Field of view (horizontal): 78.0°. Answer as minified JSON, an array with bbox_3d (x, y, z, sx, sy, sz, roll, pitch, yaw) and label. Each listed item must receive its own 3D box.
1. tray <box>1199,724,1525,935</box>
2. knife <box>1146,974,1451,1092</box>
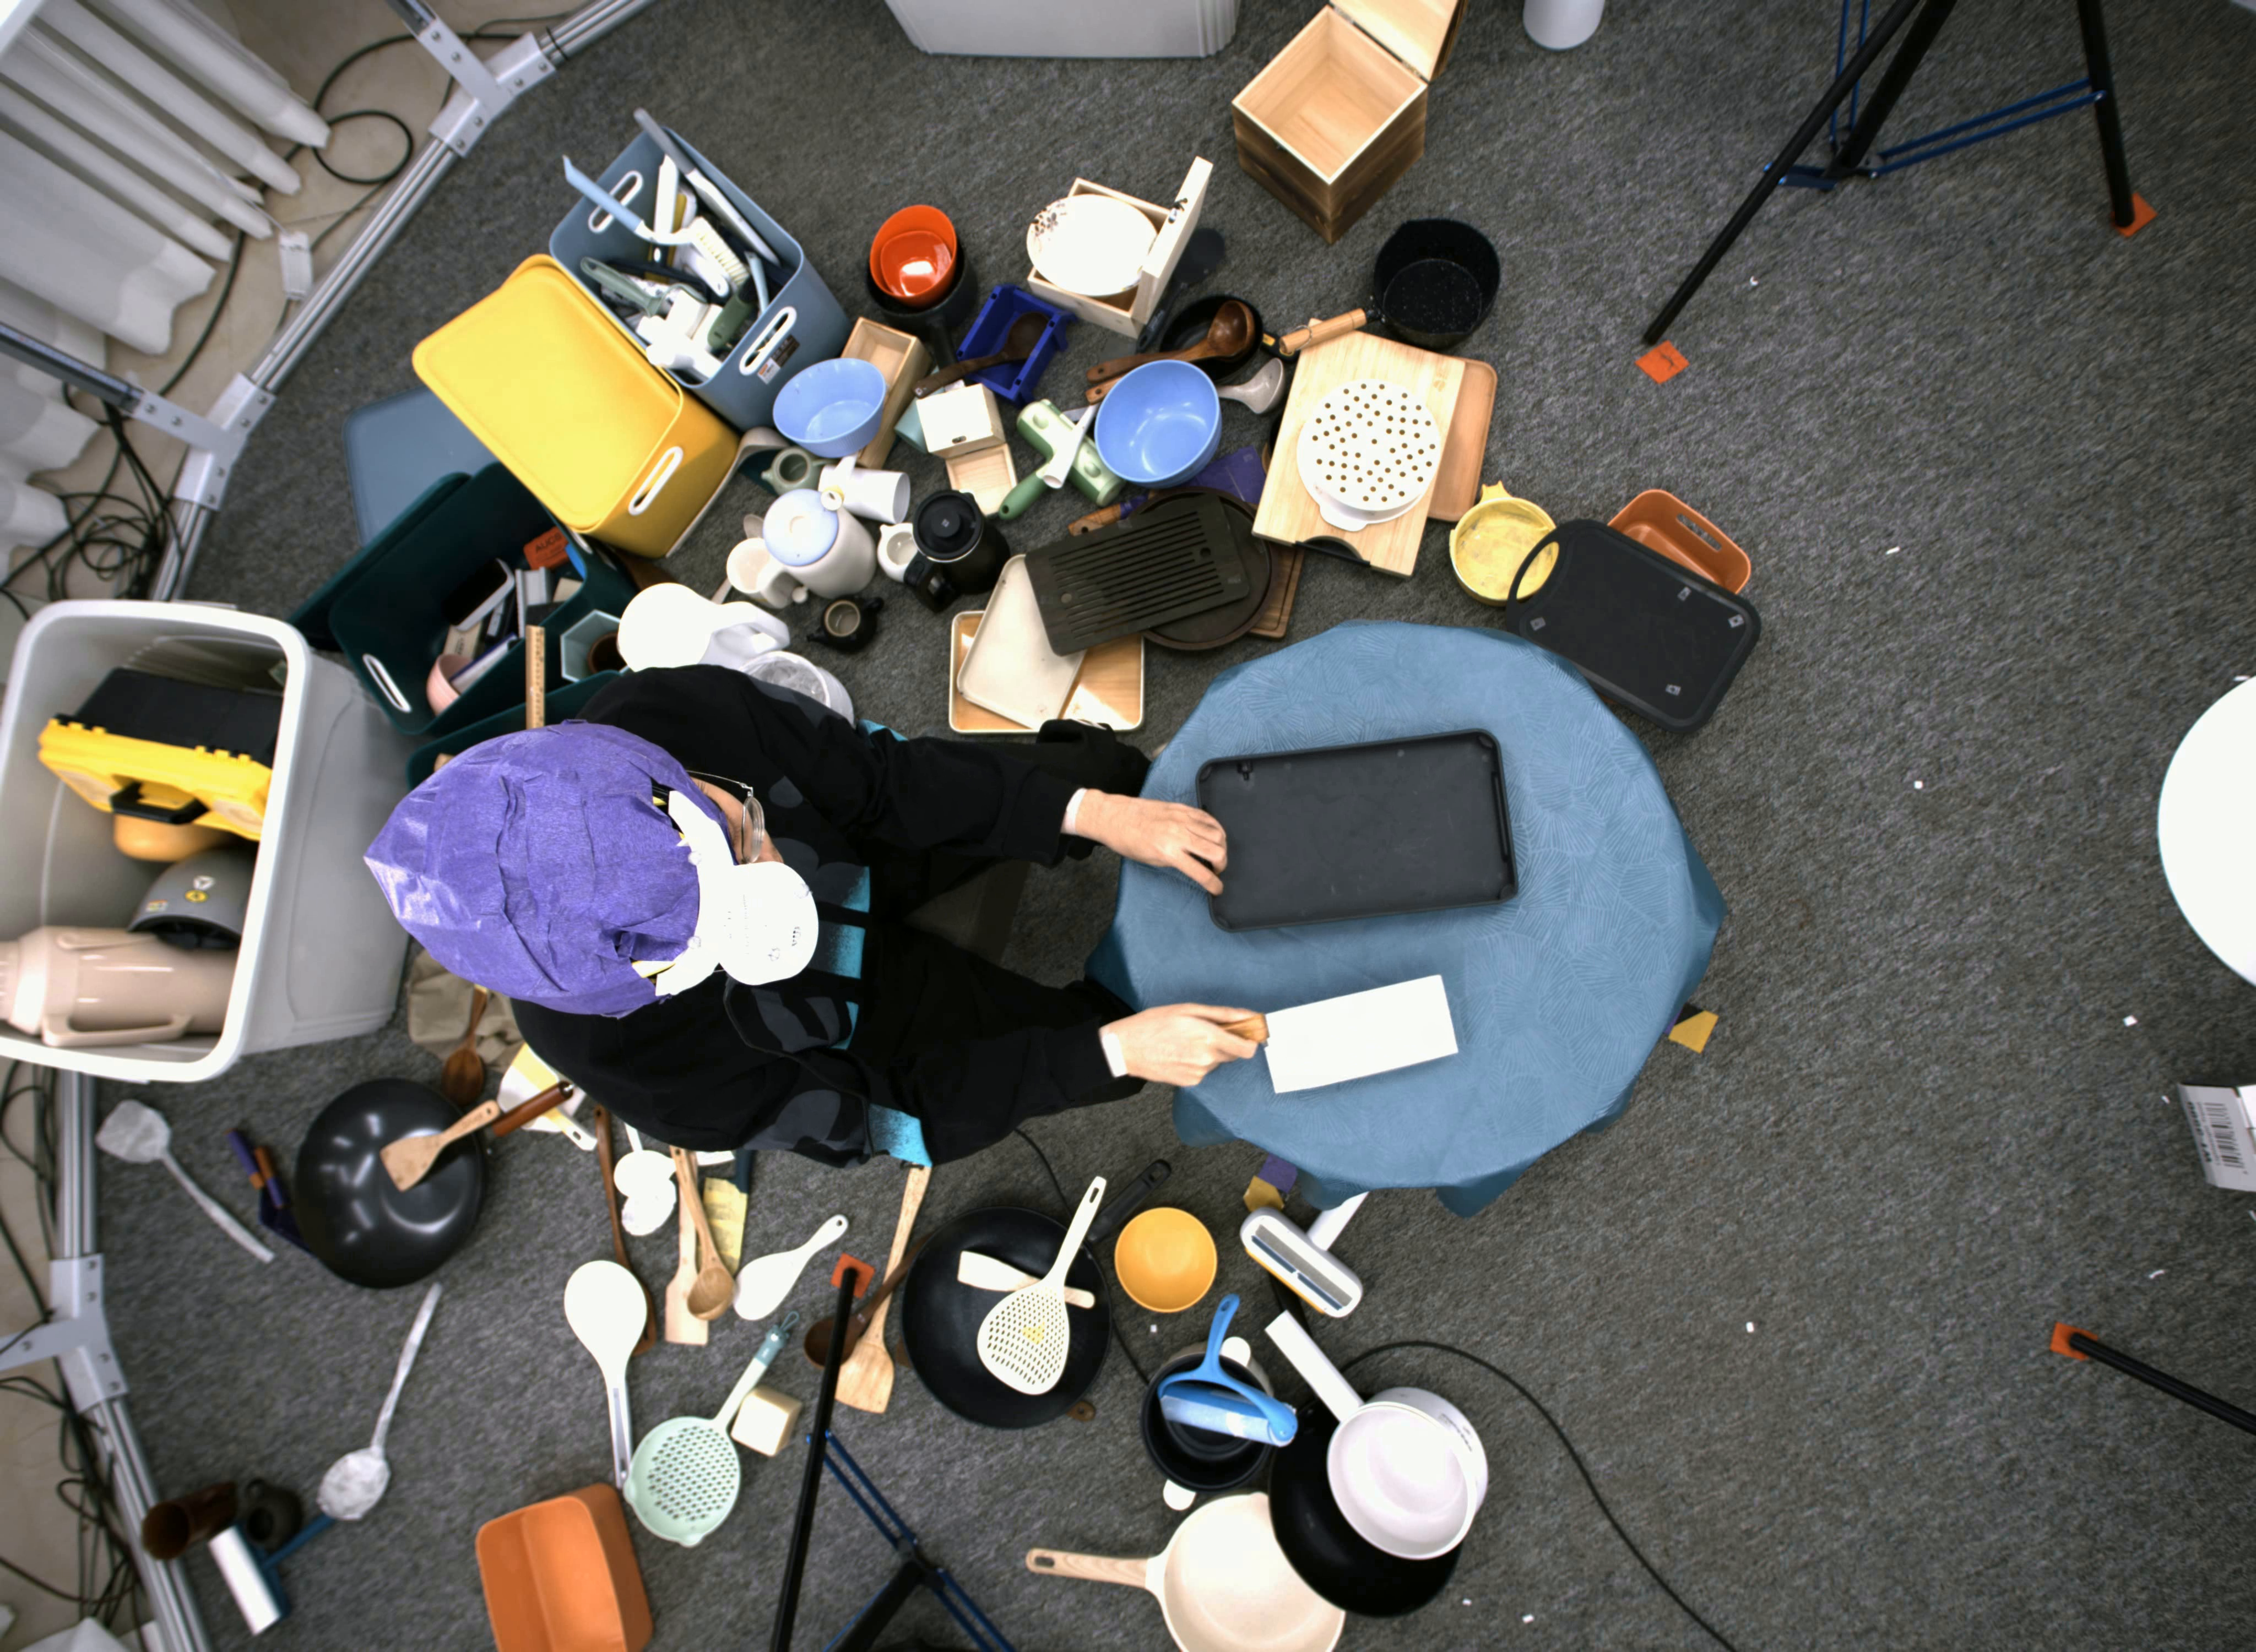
[{"bbox_3d":[0.241,0.003,1.438,0.319,0.037,0.183,-8,86,5],"label":"tray"},{"bbox_3d":[0.174,0.223,1.414,0.307,0.020,0.094,-15,107,10],"label":"knife"}]
